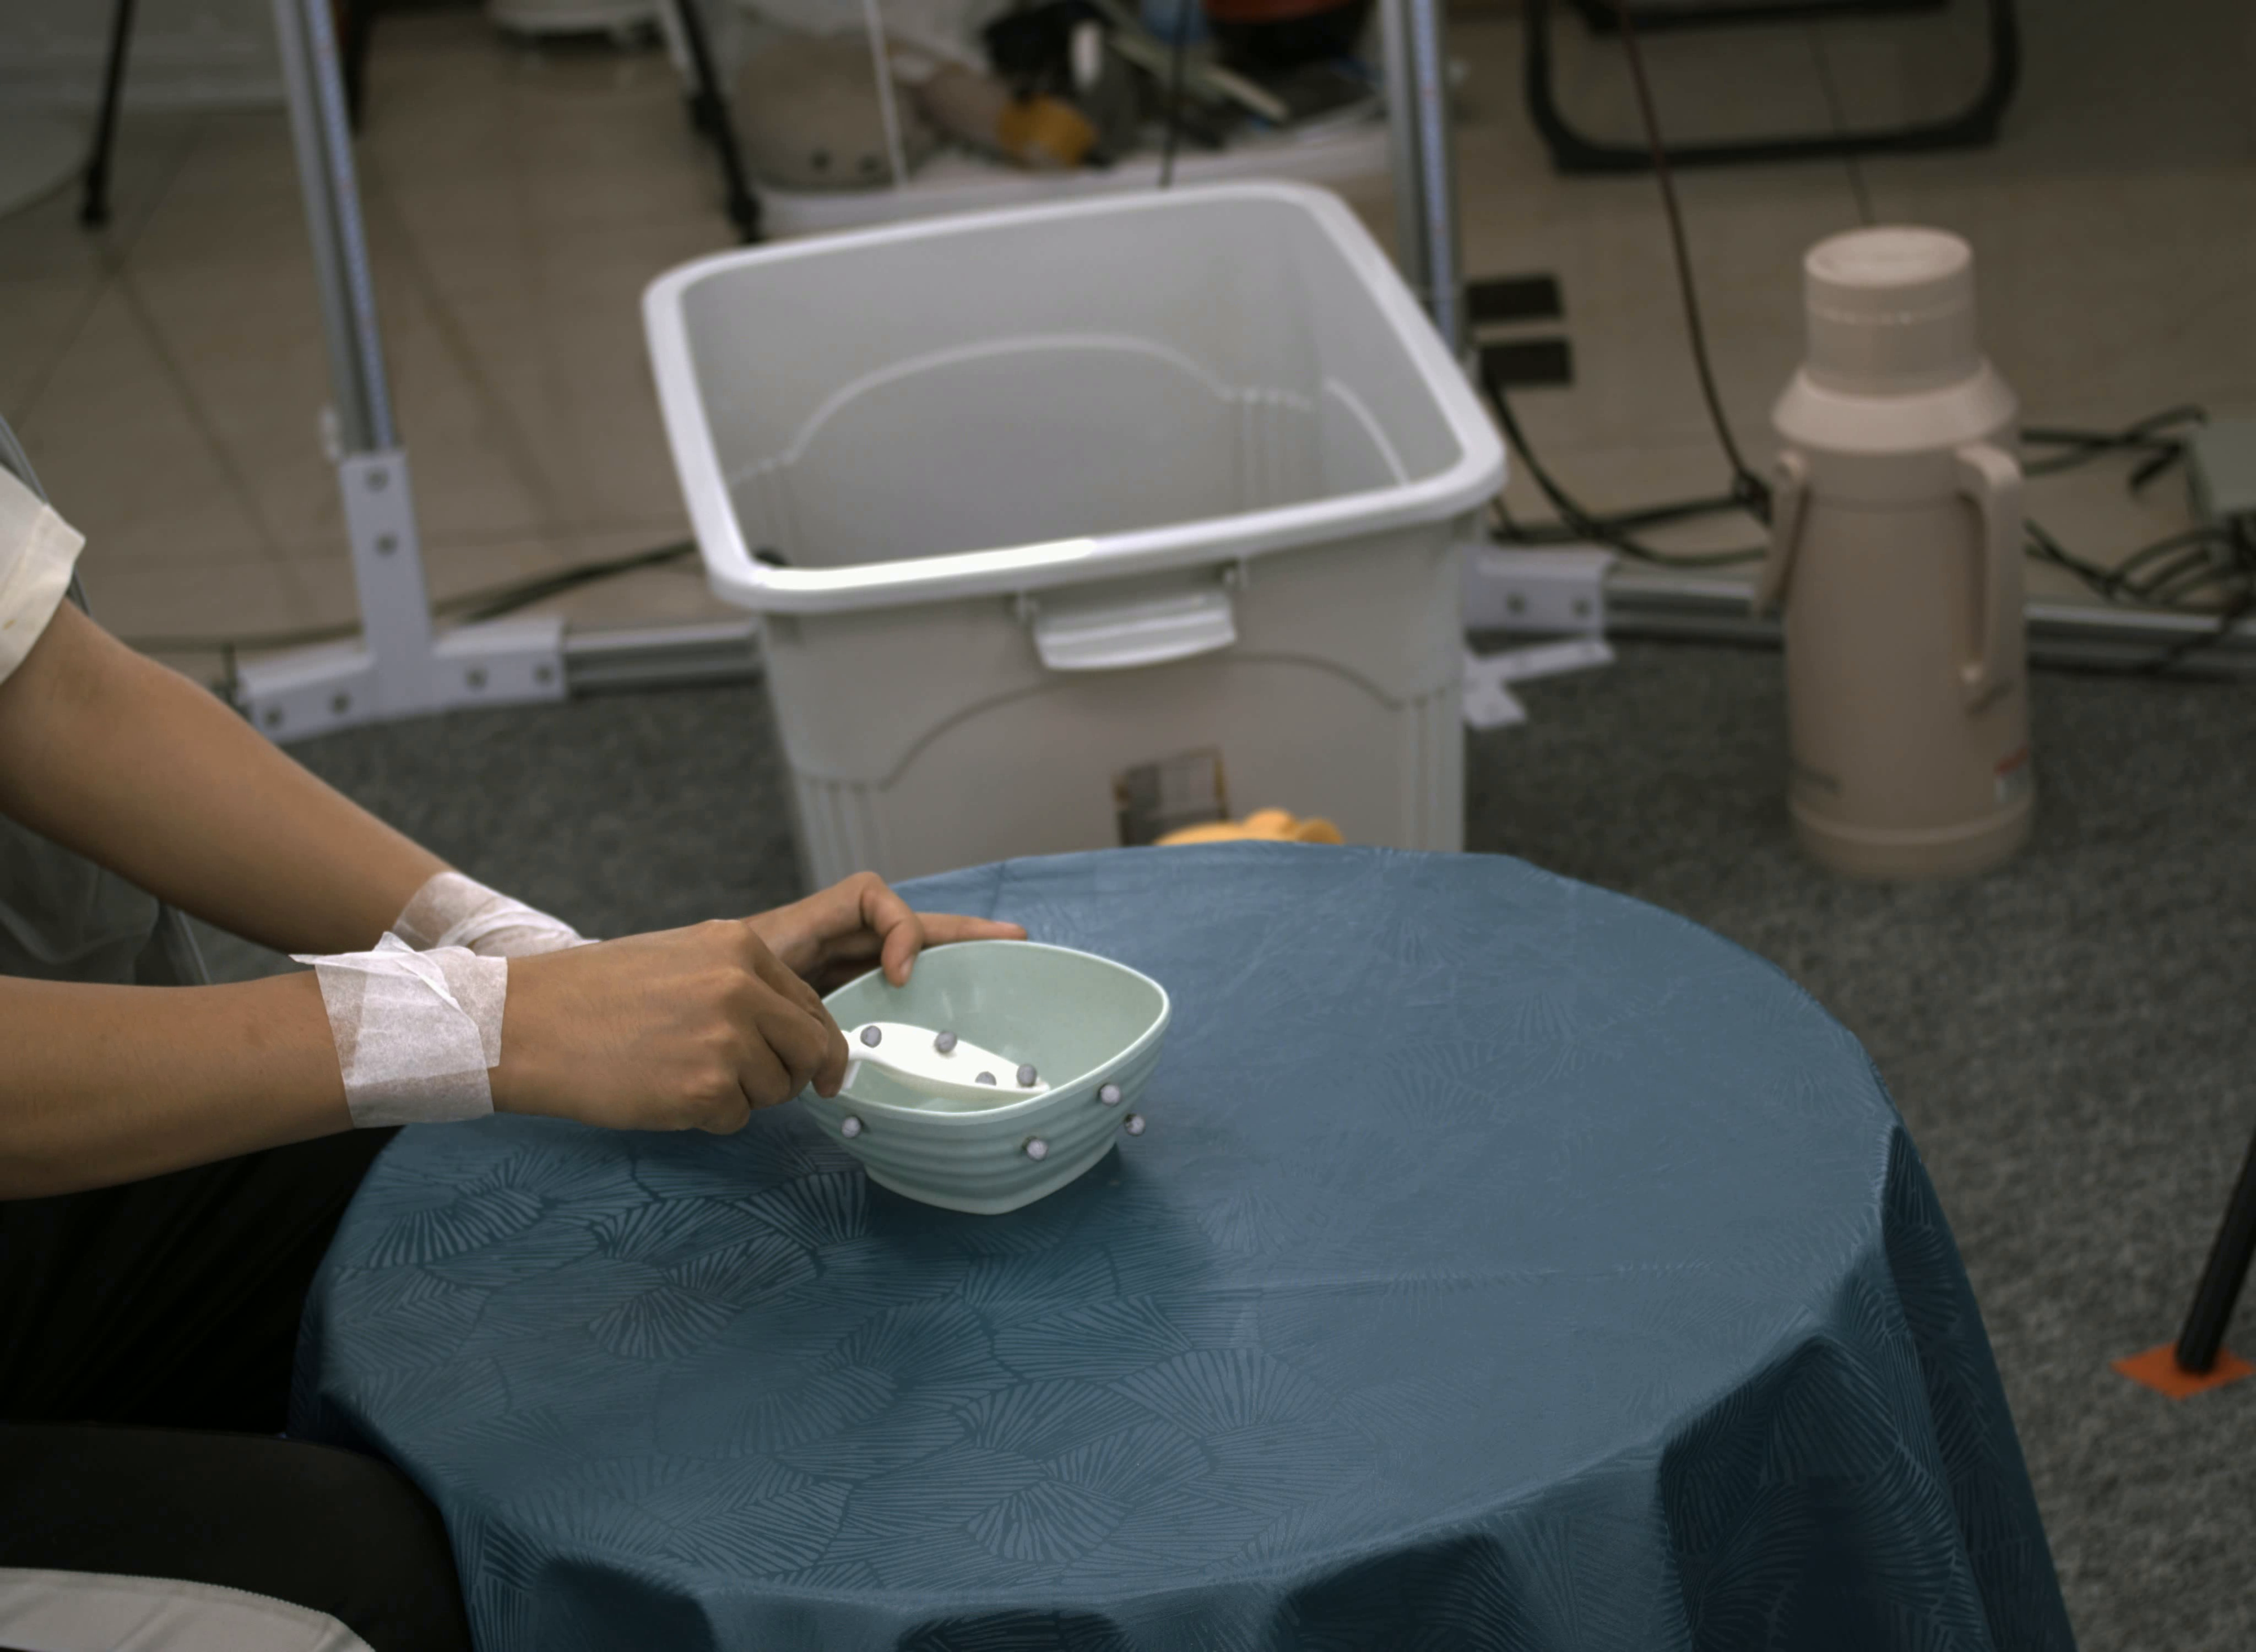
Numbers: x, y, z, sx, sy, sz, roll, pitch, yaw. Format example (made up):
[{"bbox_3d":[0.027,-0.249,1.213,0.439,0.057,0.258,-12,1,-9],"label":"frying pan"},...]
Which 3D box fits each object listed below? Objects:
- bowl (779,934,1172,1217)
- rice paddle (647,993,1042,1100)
[{"bbox_3d":[-0.056,0.101,2.179,0.151,0.059,0.149,-5,27,3],"label":"bowl"},{"bbox_3d":[-0.103,0.083,2.121,0.068,0.029,0.206,28,11,34],"label":"rice paddle"}]
